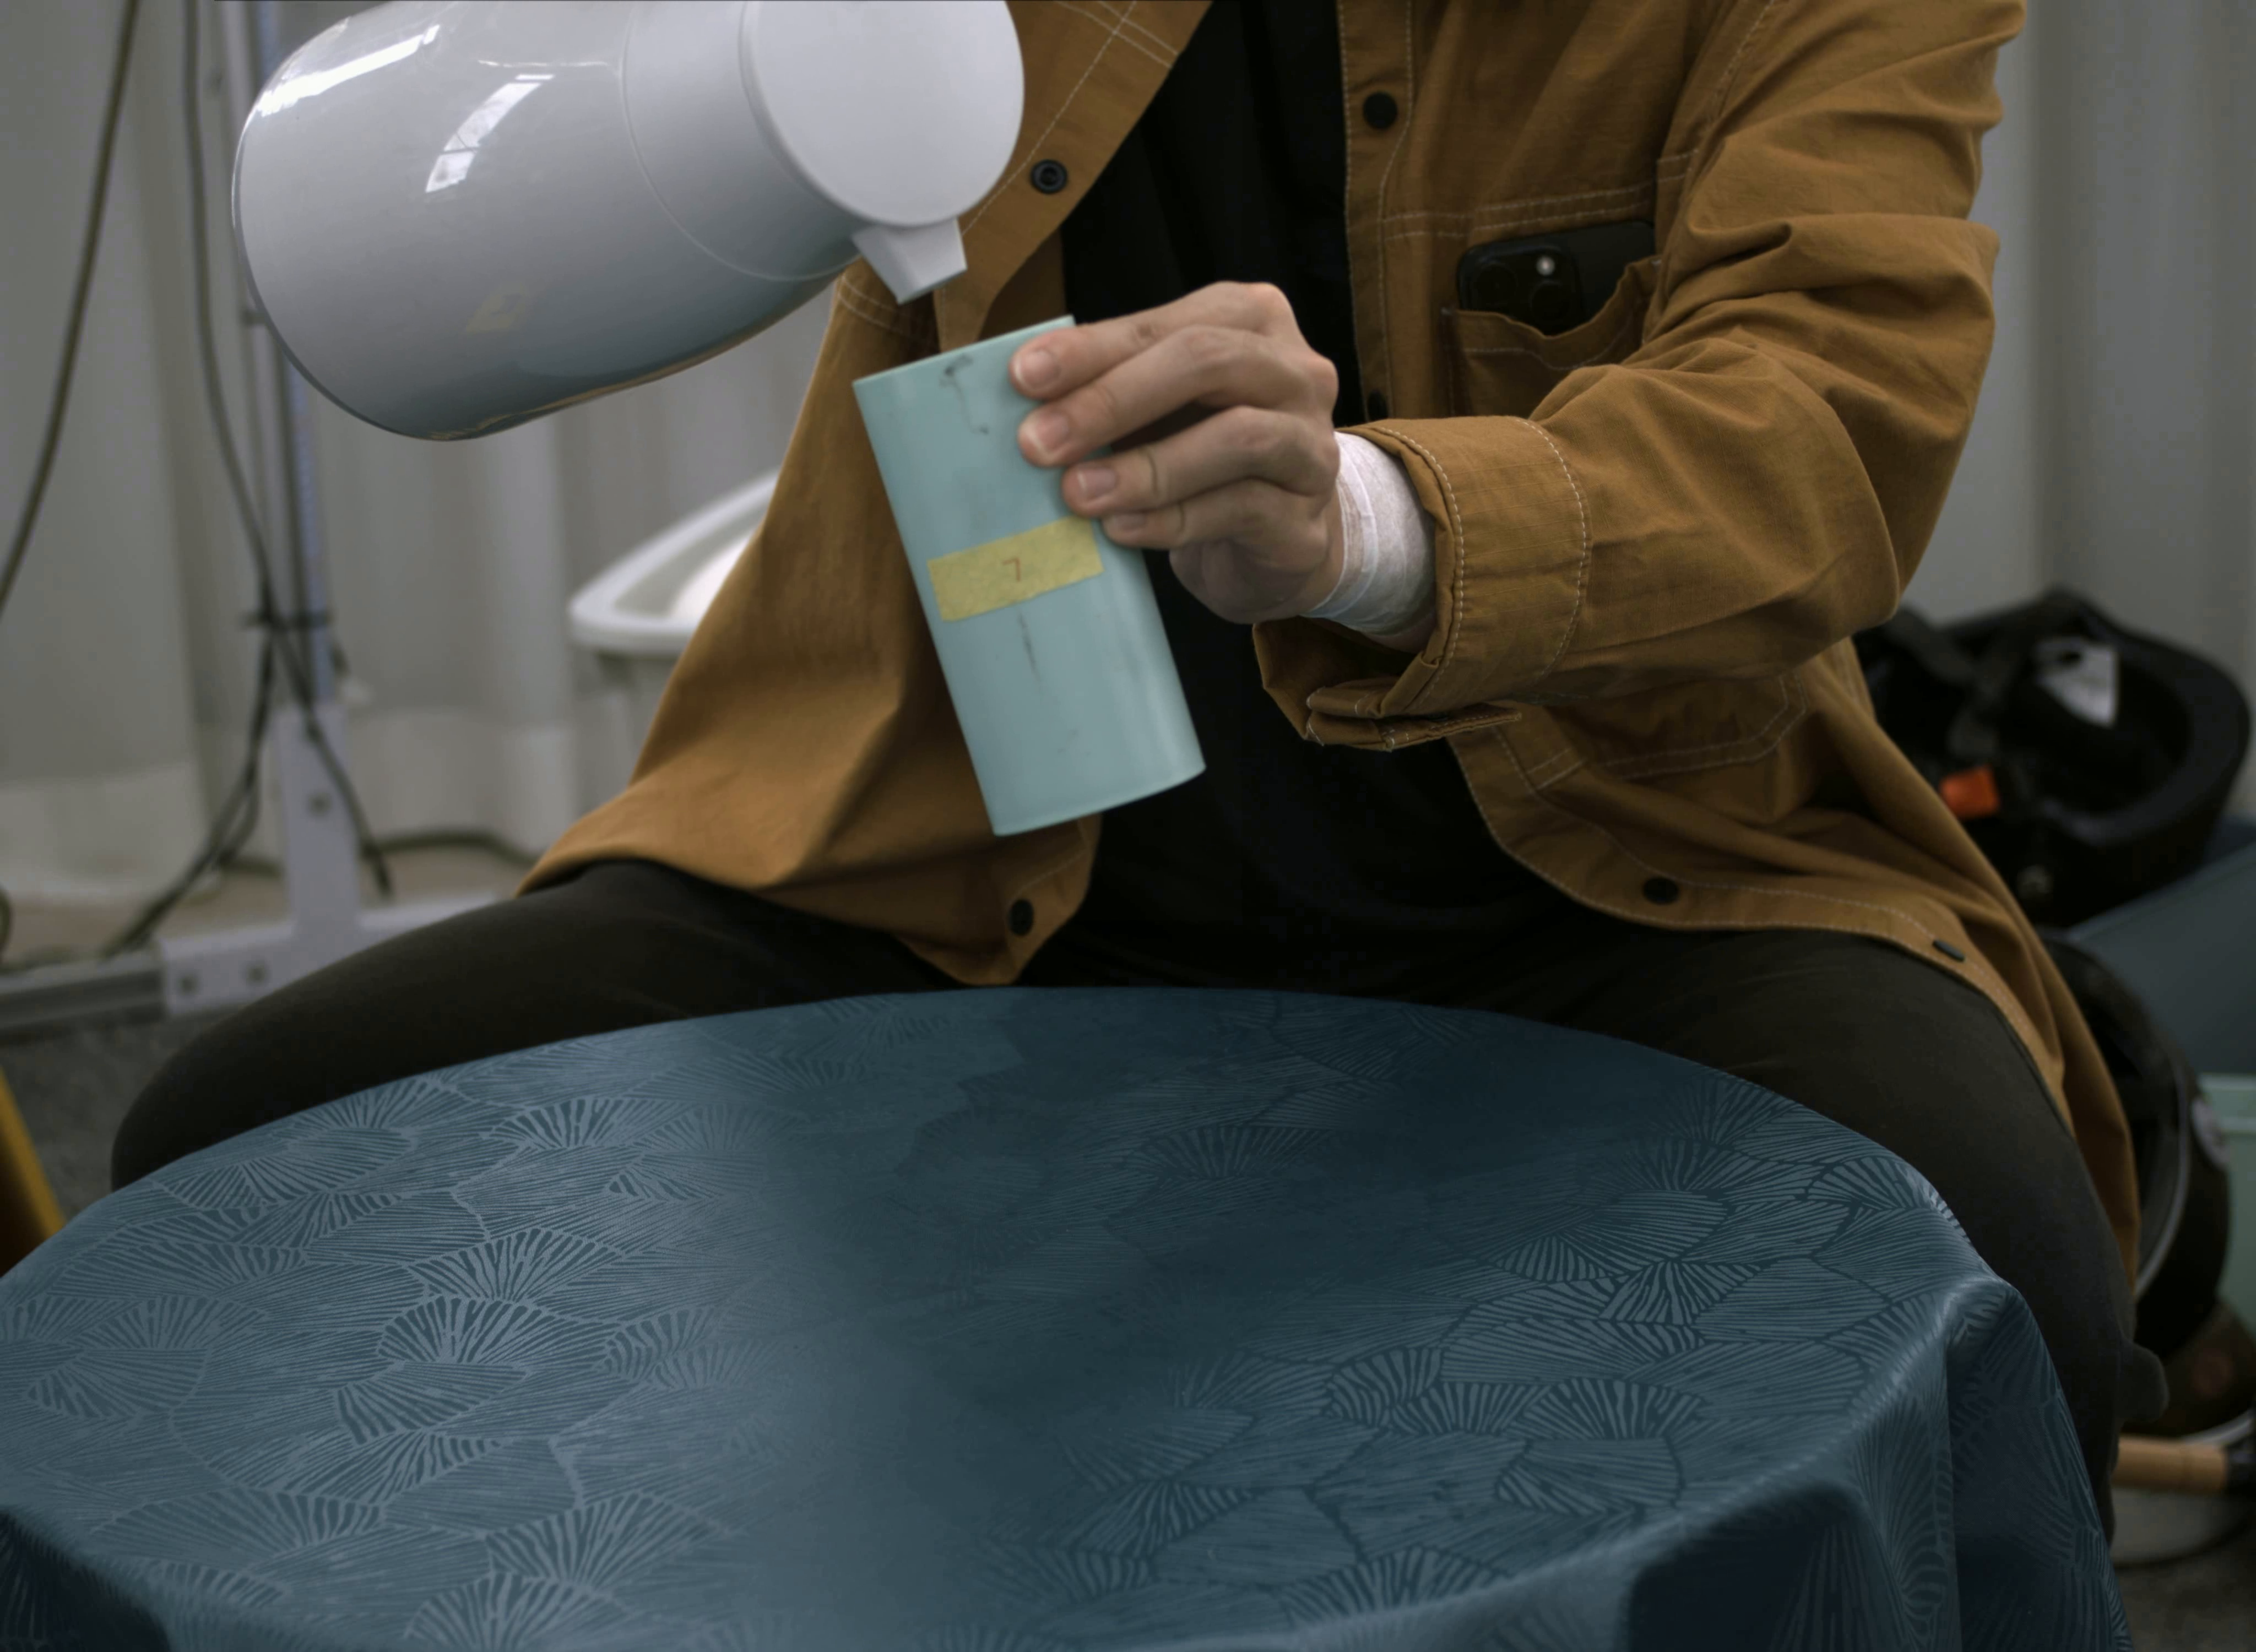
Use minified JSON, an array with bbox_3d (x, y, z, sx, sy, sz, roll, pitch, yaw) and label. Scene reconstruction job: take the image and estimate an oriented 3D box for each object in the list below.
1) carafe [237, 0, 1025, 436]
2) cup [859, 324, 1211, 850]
[{"bbox_3d":[-0.144,-0.212,1.562,0.133,0.167,0.249,-30,12,-37],"label":"carafe"},{"bbox_3d":[-0.025,-0.066,1.503,0.066,0.132,0.067,-16,4,1],"label":"cup"}]
